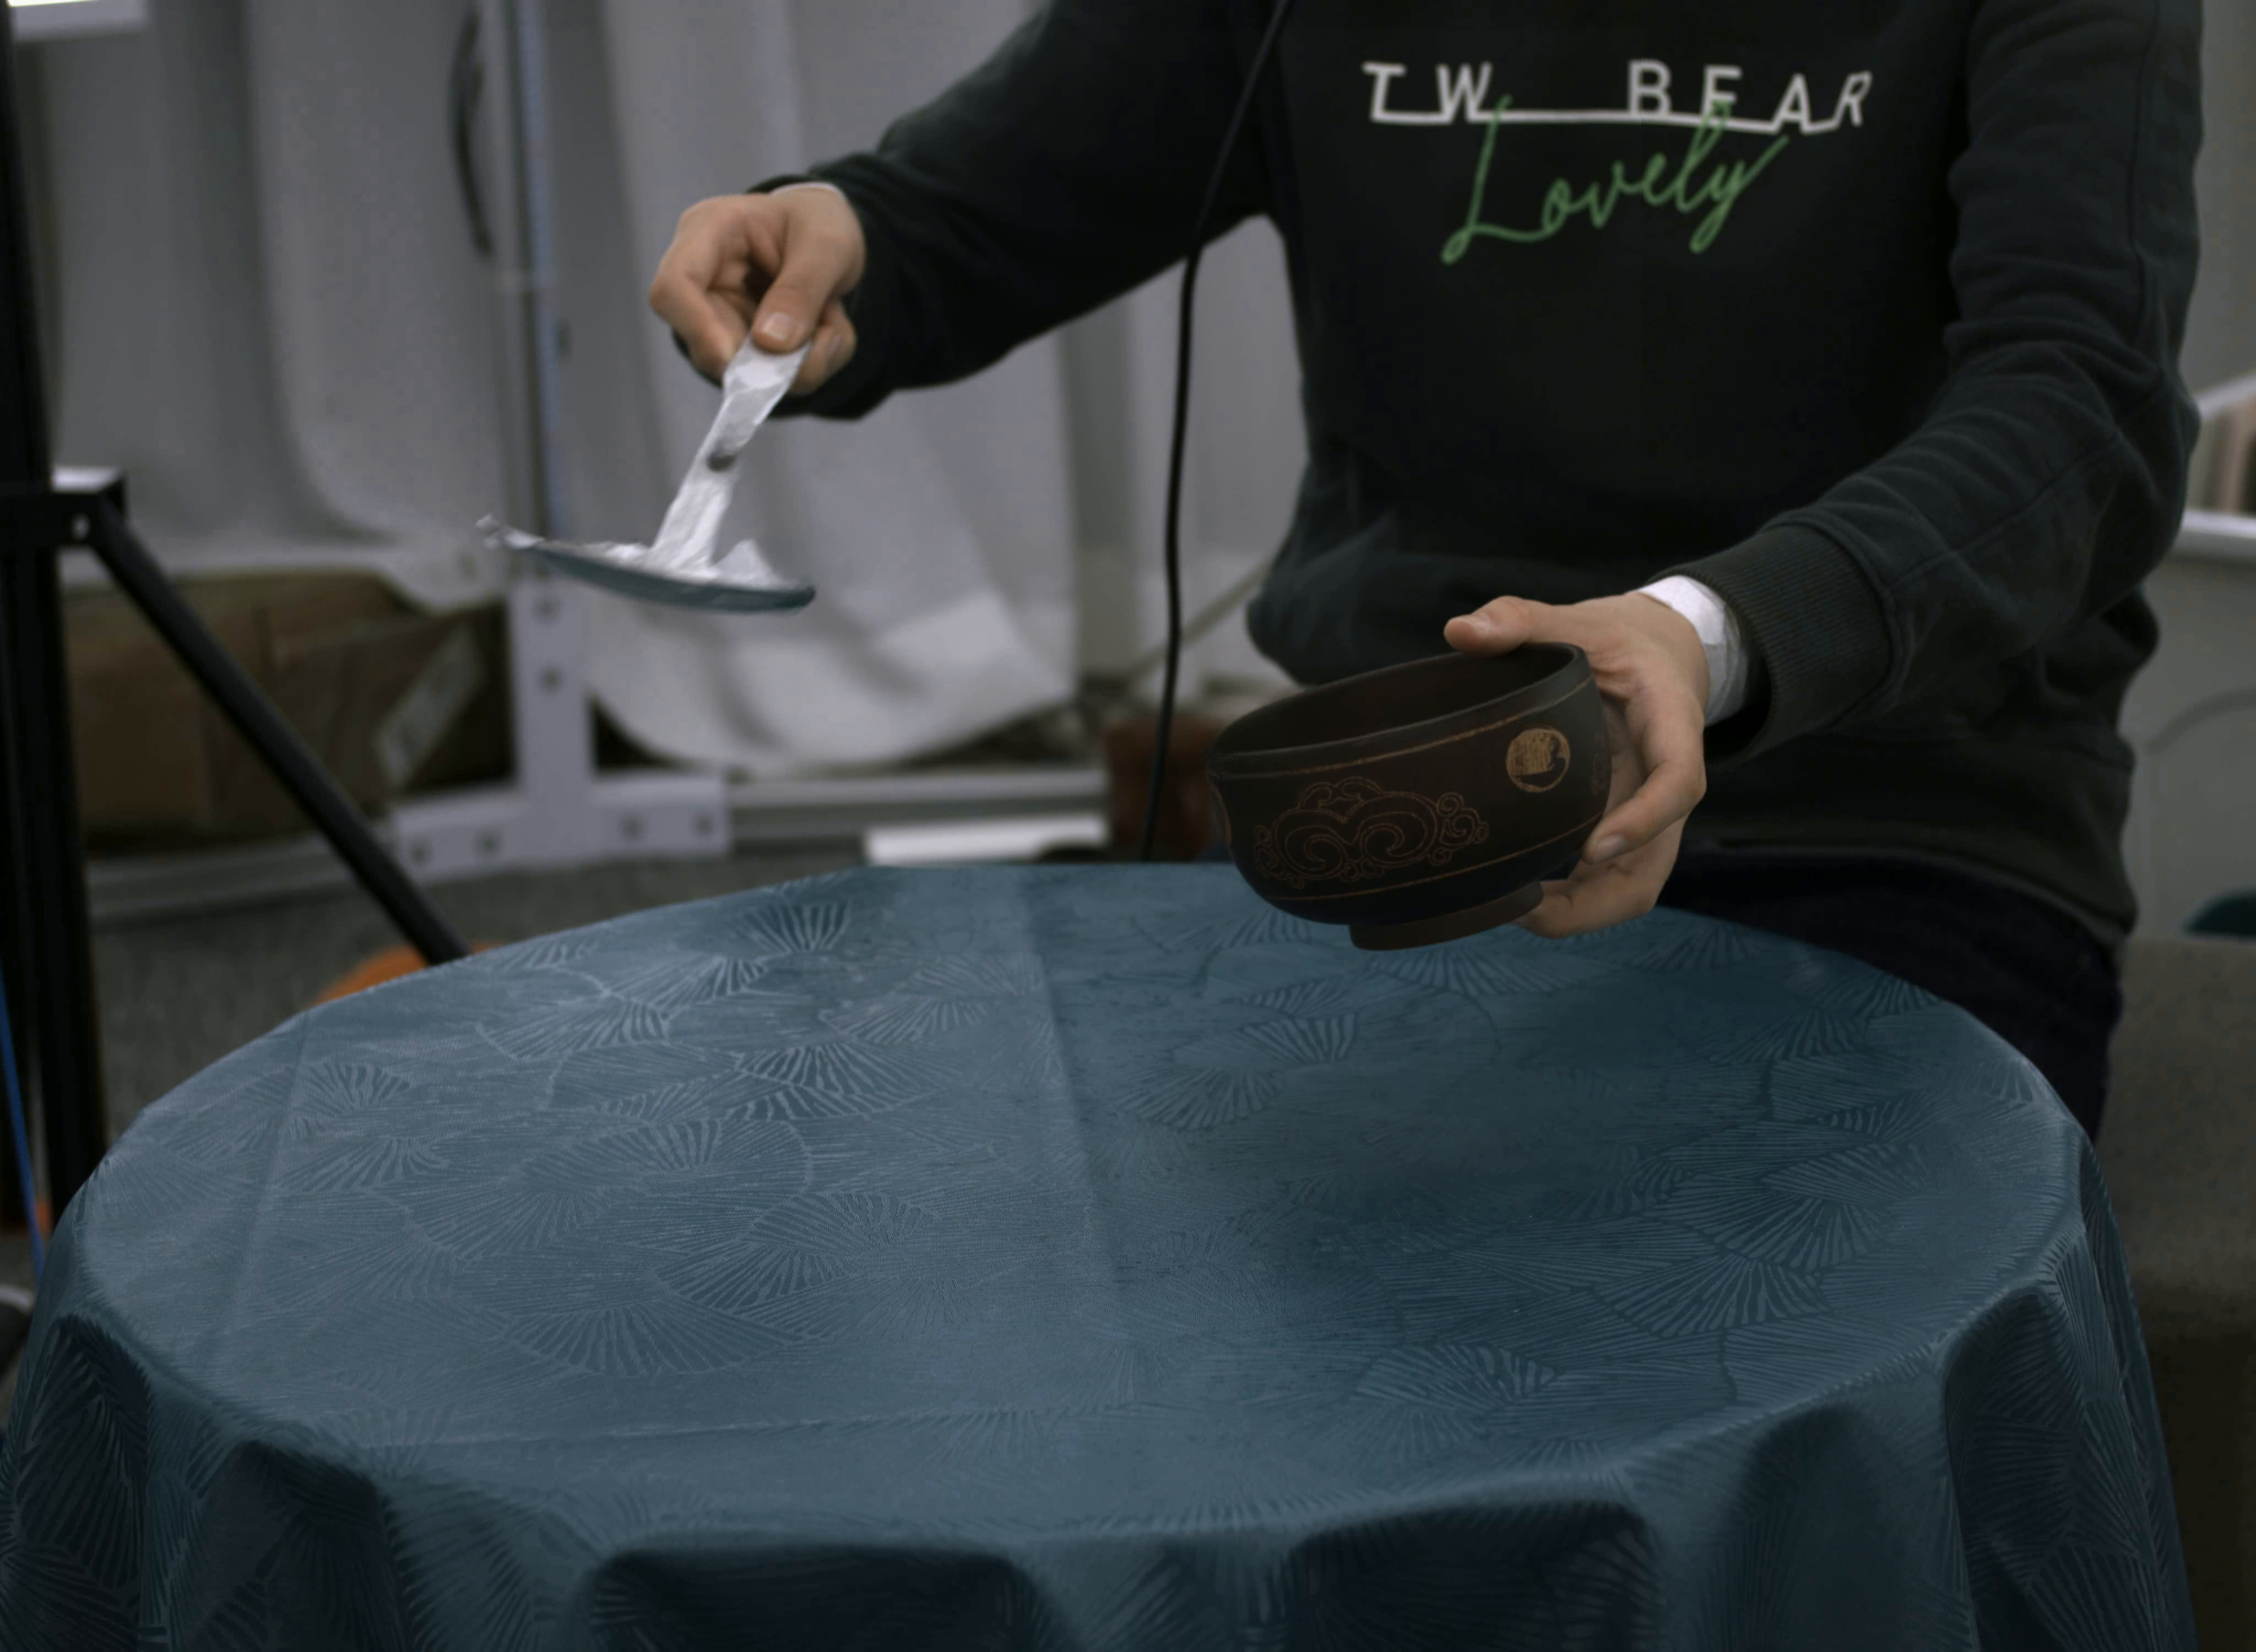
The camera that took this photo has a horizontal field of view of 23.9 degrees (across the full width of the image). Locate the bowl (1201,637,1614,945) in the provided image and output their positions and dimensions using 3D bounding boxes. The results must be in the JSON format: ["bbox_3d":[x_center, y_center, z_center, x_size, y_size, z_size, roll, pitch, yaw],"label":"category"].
[{"bbox_3d":[0.084,-0.006,1.533,0.117,0.070,0.118,-13,9,1],"label":"bowl"}]

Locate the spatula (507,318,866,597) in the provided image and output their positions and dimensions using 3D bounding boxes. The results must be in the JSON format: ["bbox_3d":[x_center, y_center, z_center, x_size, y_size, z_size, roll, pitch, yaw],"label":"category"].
[{"bbox_3d":[-0.117,-0.126,1.679,0.098,0.045,0.365,8,22,3],"label":"spatula"}]
